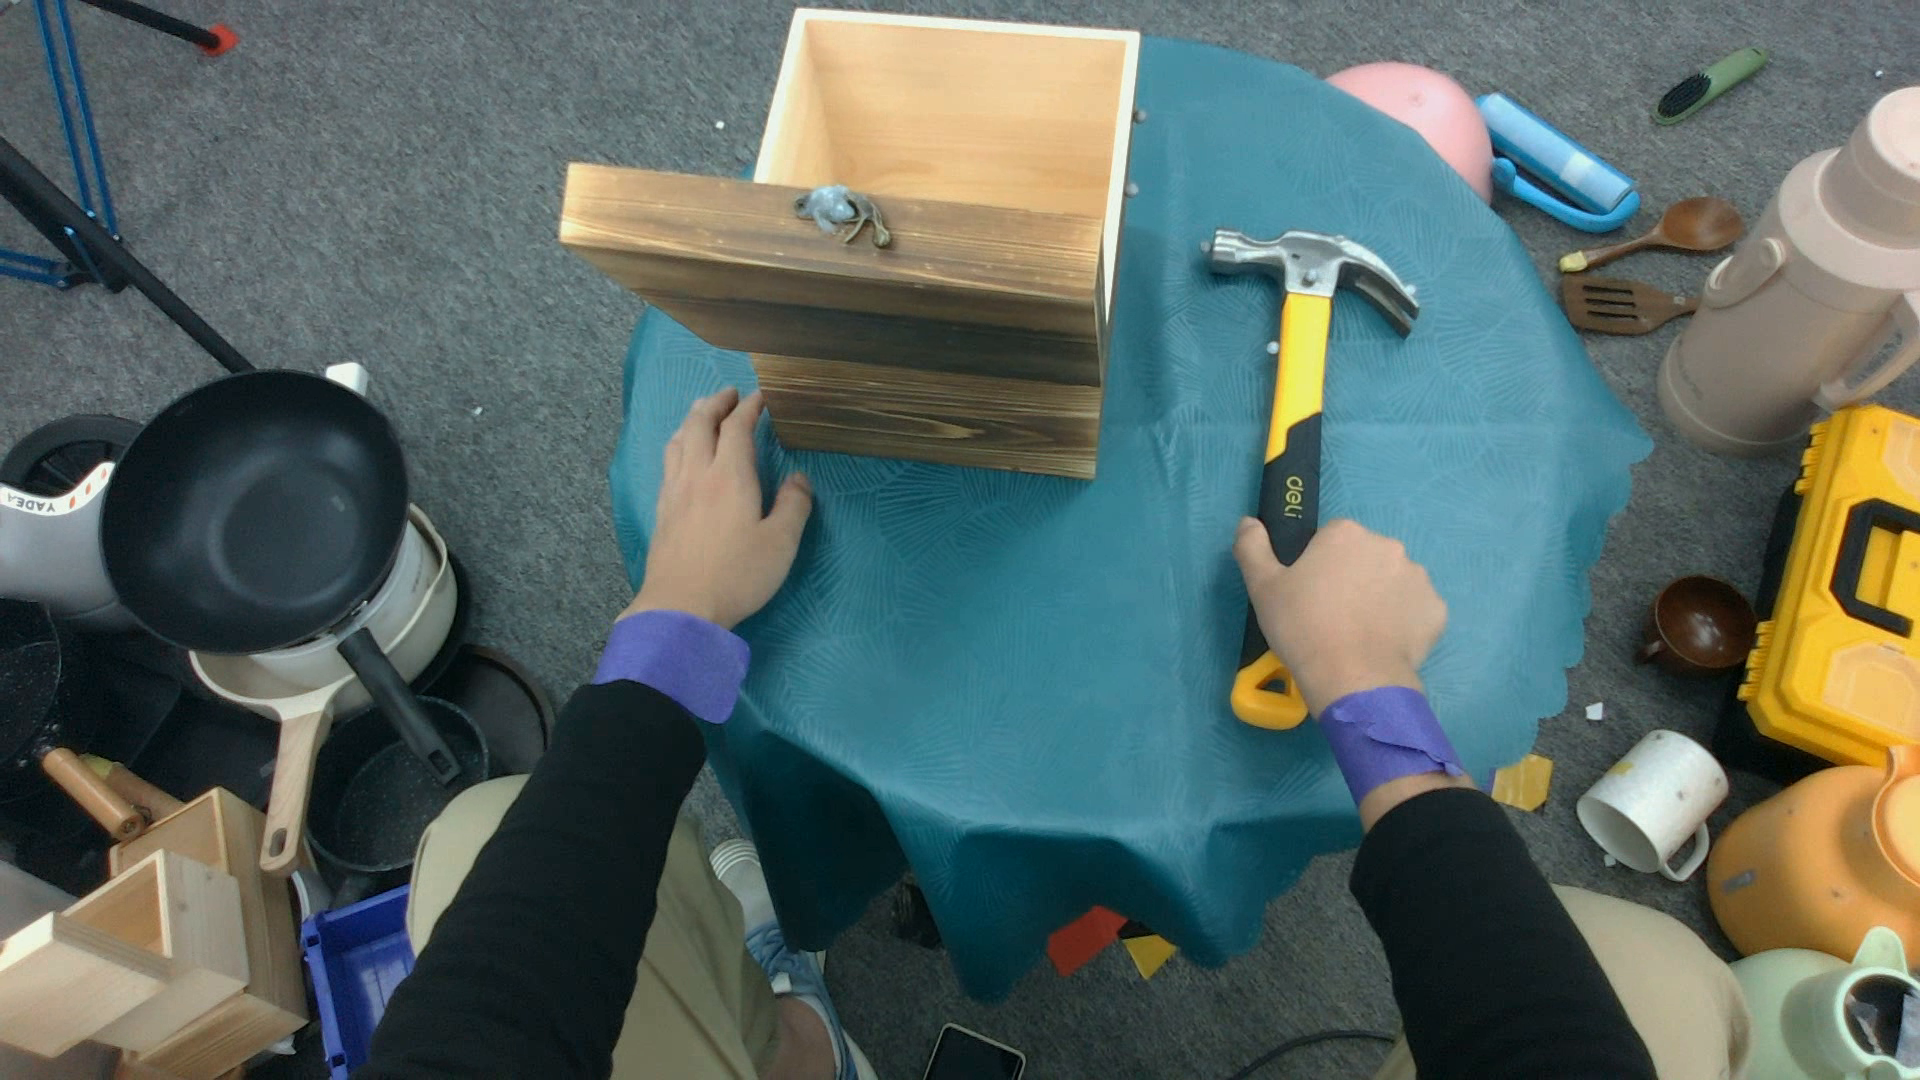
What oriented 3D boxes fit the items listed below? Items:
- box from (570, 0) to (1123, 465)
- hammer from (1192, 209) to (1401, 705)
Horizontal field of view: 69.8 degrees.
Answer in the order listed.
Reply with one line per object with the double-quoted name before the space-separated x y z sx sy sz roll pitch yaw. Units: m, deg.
"box" -0.025 -0.176 0.720 0.208 0.374 0.323 6 66 5
"hammer" 0.191 -0.061 0.826 0.131 0.032 0.340 8 62 6
